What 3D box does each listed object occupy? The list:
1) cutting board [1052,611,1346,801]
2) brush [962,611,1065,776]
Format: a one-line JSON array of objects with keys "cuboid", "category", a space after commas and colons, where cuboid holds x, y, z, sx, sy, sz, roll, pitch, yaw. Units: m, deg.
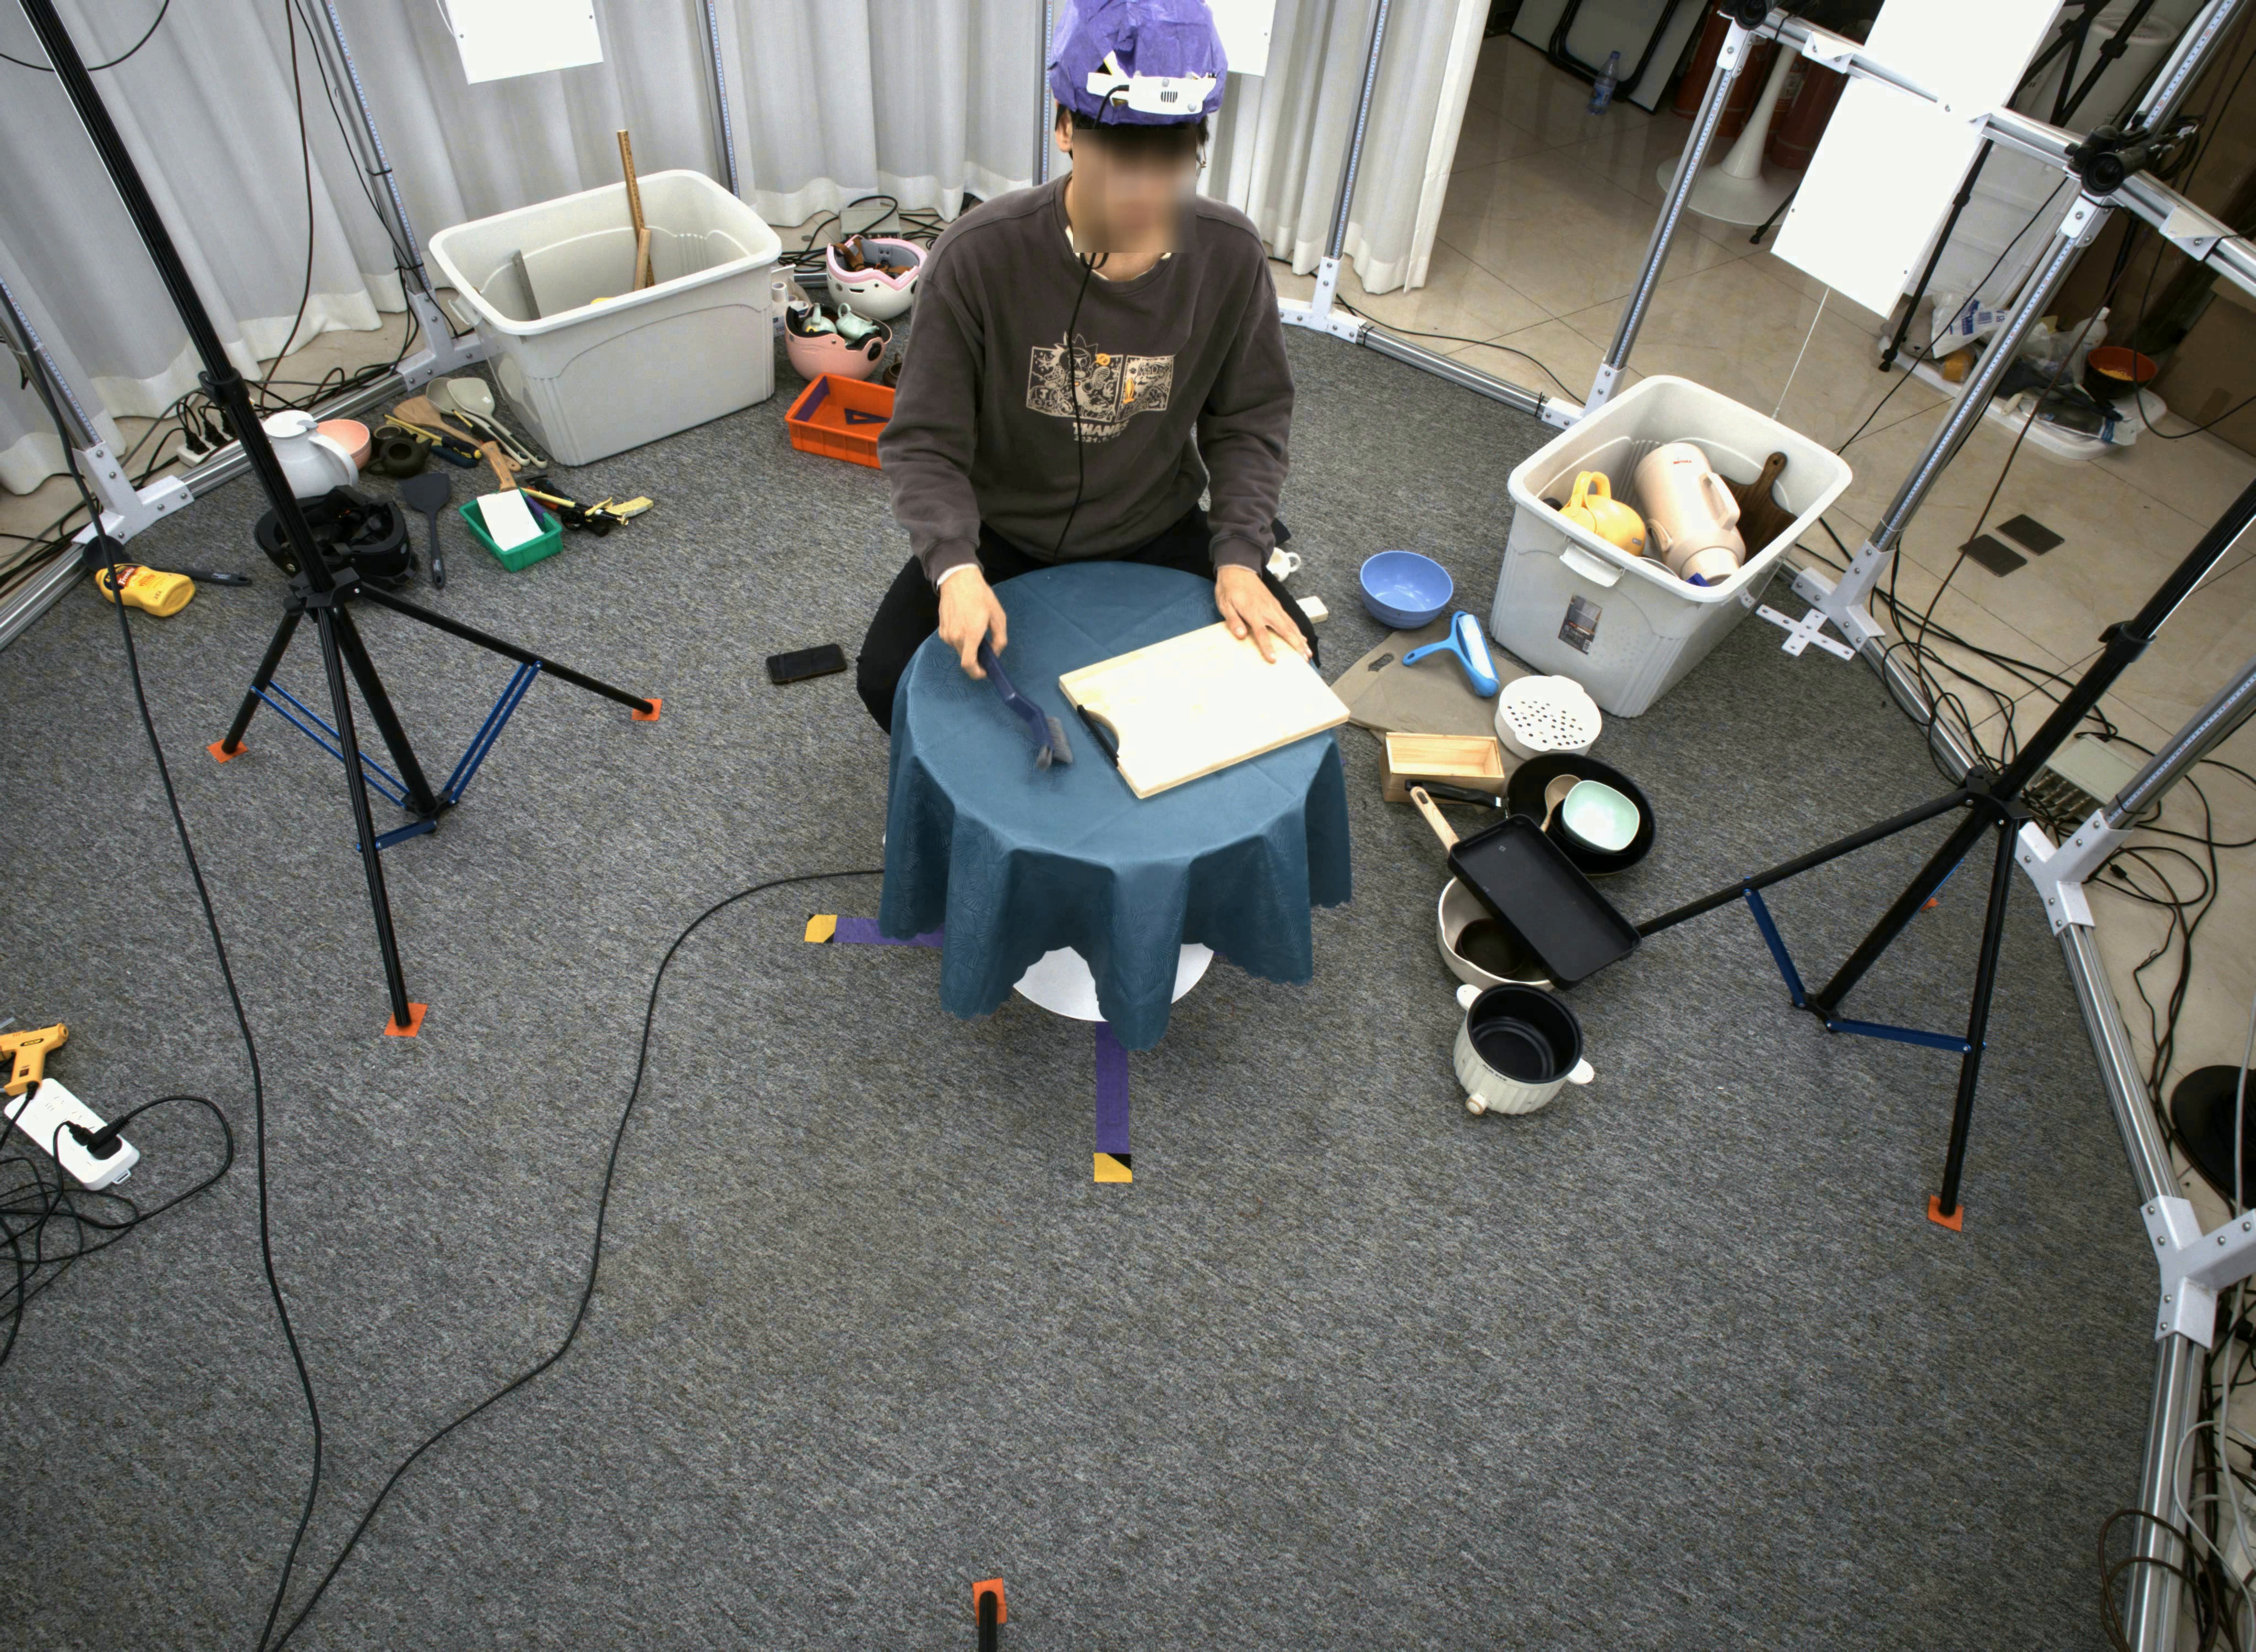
[{"cuboid": [0.102, -0.178, 1.816, 0.349, 0.023, 0.256, -21, 53, -21], "category": "cutting board"}, {"cuboid": [-0.170, -0.185, 1.756, 0.096, 0.033, 0.277, -15, 60, -45], "category": "brush"}]
